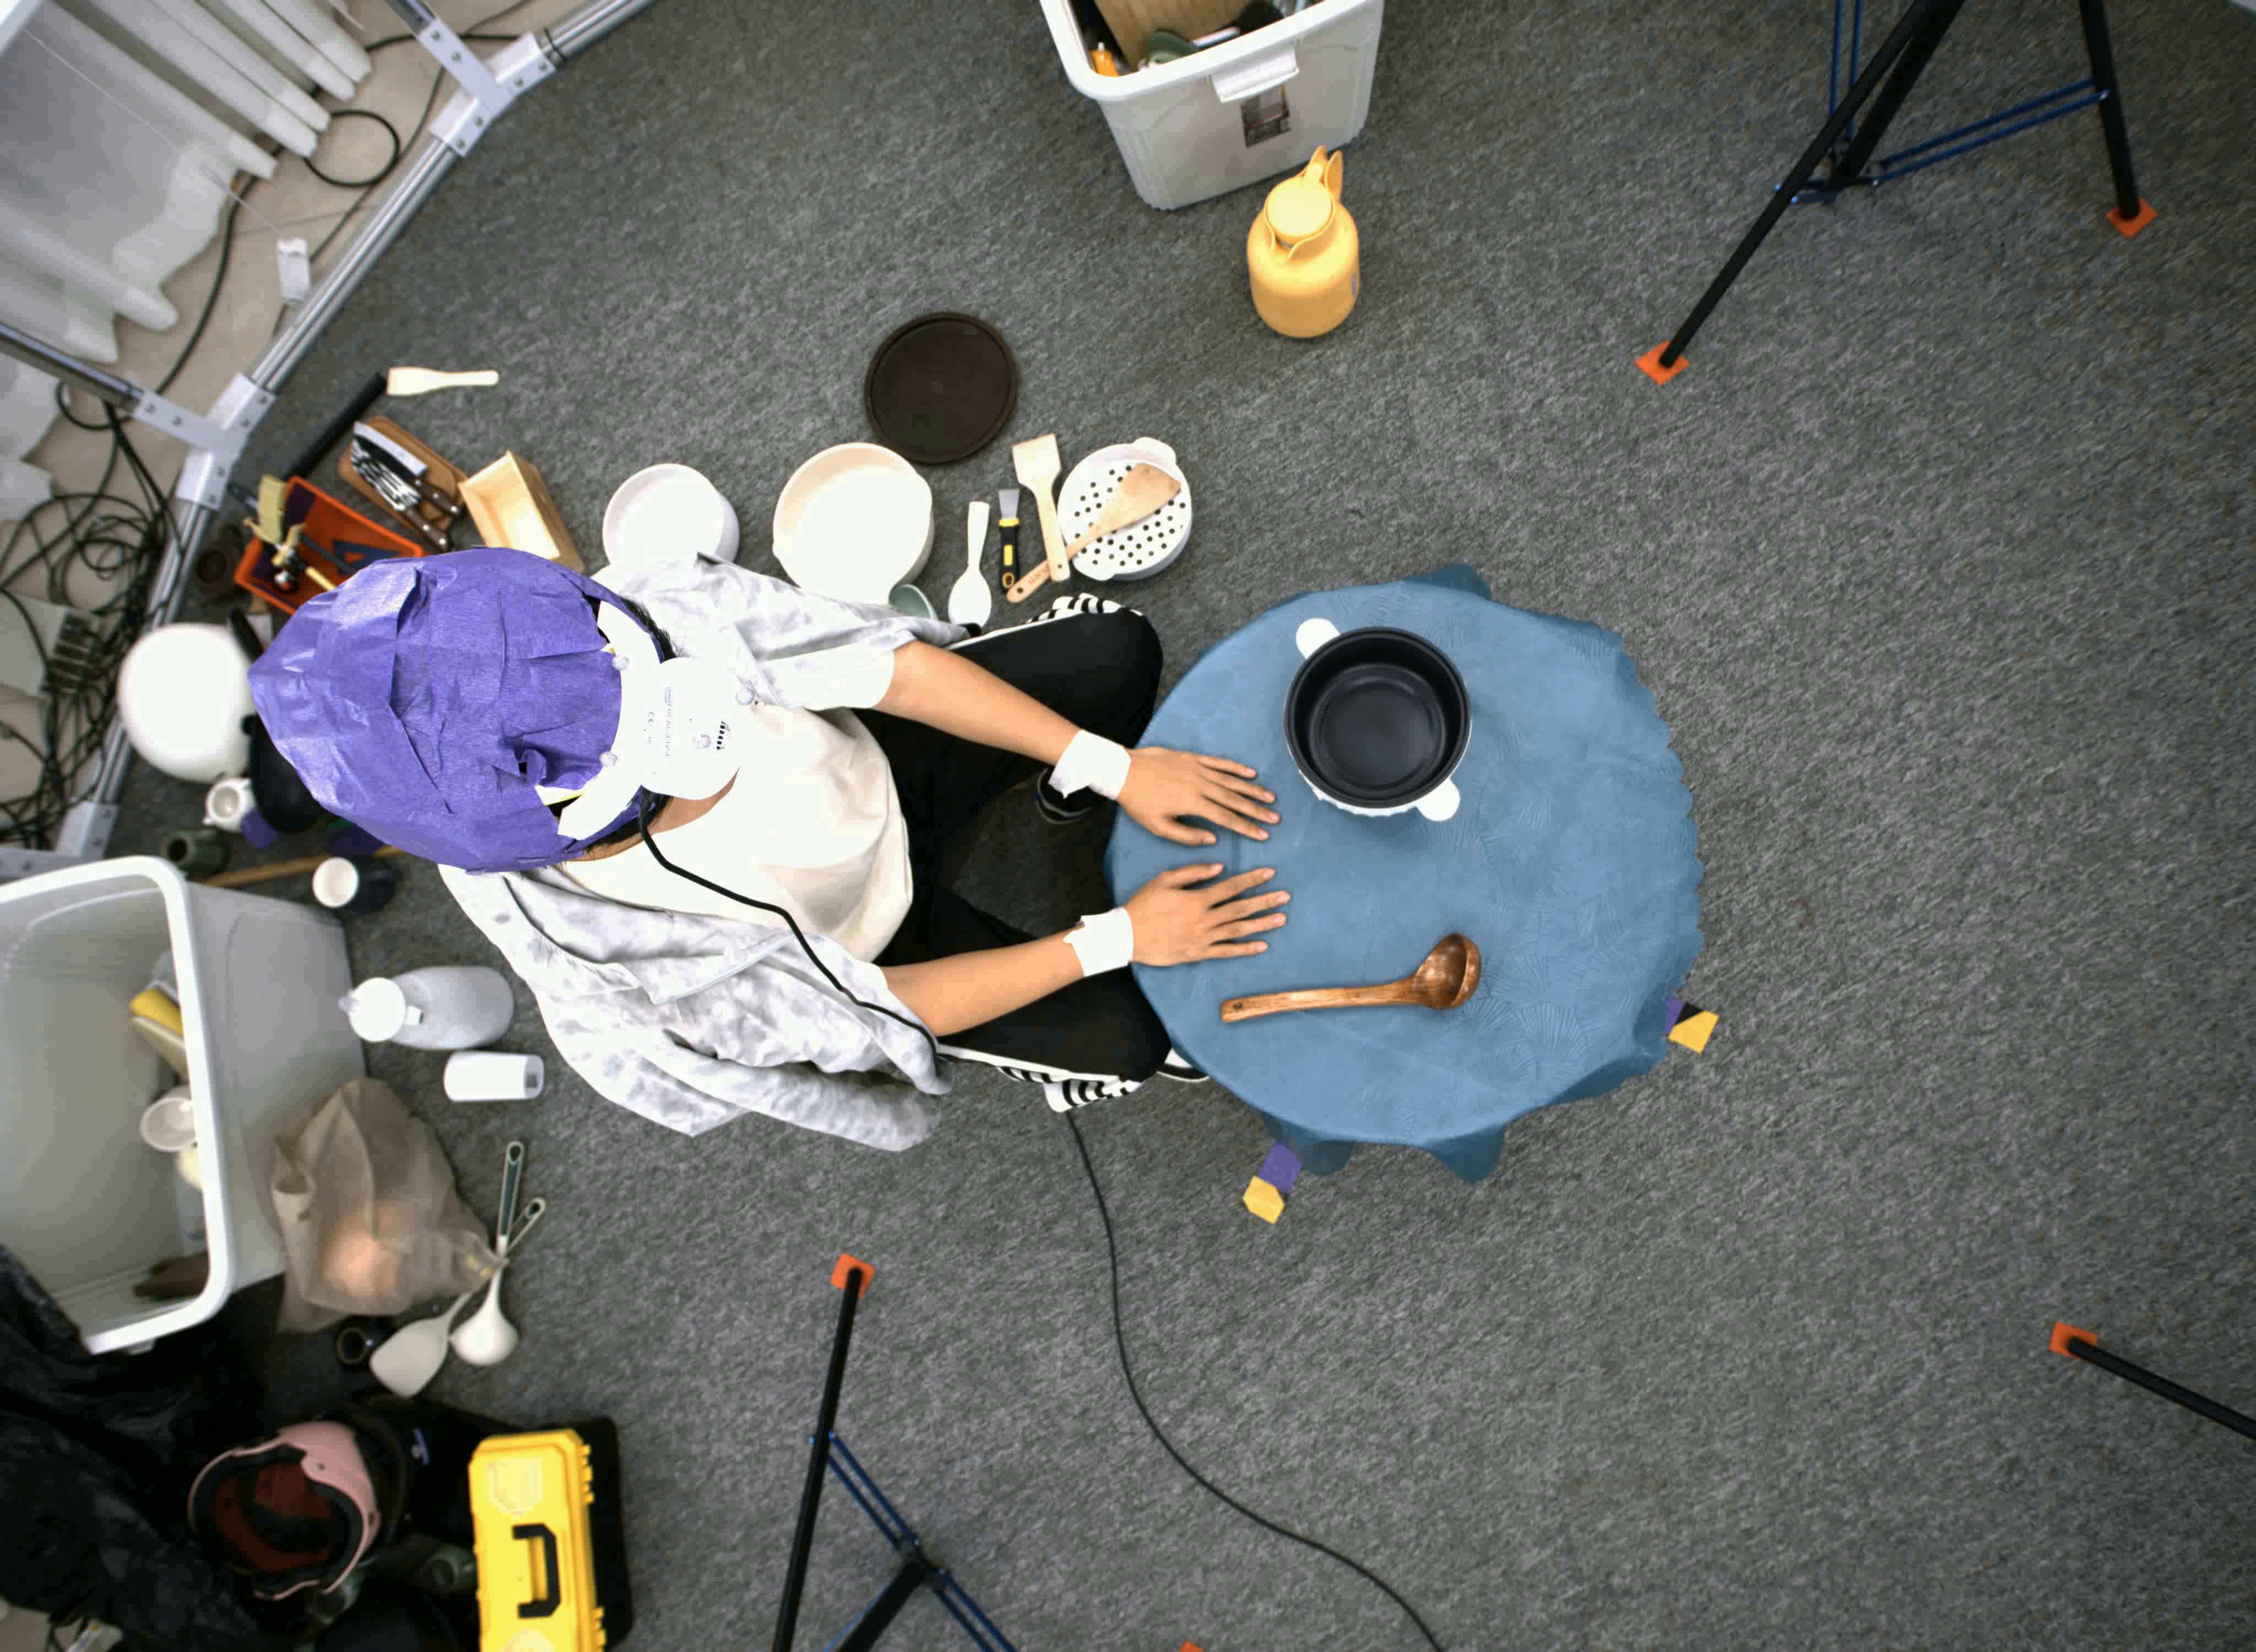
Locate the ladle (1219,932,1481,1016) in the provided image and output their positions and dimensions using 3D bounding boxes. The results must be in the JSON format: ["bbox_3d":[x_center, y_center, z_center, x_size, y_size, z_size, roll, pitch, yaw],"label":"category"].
[{"bbox_3d":[0.225,0.158,1.426,0.275,0.078,0.079,-5,43,12],"label":"ladle"}]

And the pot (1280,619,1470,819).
[{"bbox_3d":[0.256,-0.106,1.400,0.192,0.142,0.239,-37,82,9],"label":"pot"}]
